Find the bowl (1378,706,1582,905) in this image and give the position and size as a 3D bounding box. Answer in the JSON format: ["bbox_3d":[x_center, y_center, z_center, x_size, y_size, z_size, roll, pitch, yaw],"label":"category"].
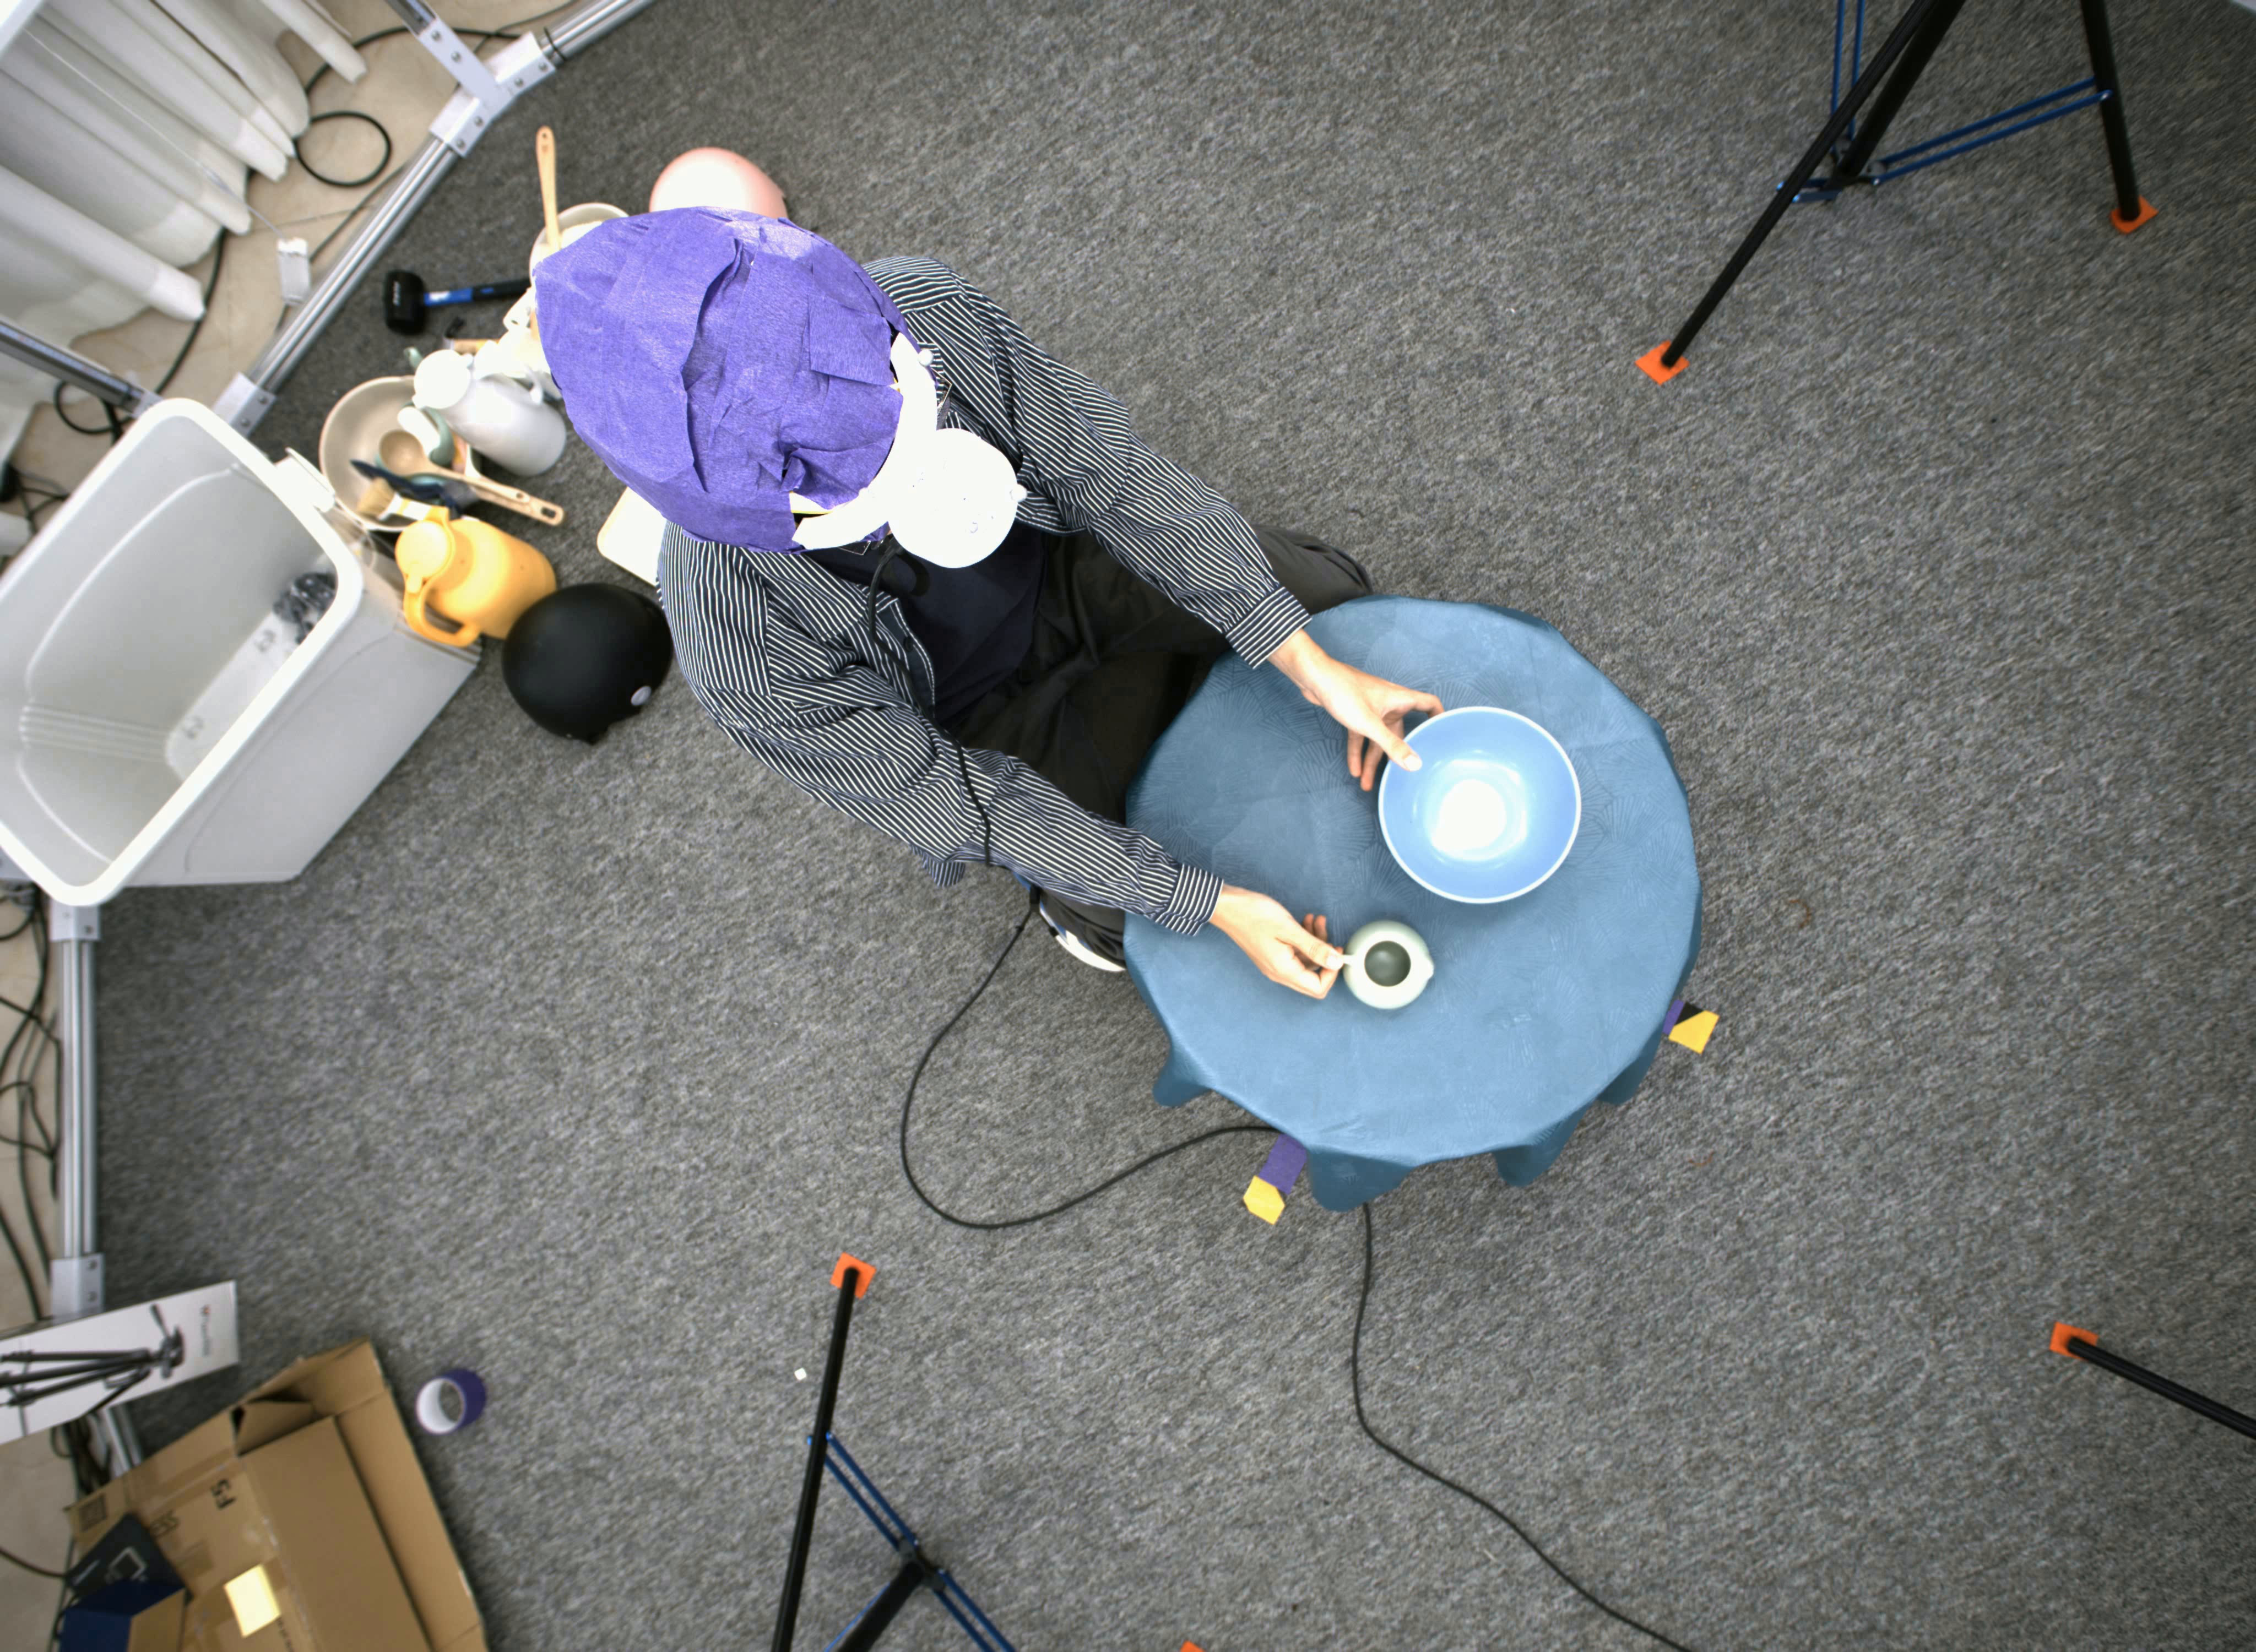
[{"bbox_3d":[0.352,-0.019,1.391,0.197,0.095,0.196,-1,88,10],"label":"bowl"}]

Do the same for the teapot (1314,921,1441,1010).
[{"bbox_3d":[0.254,0.140,1.416,0.129,0.061,0.091,9,89,7],"label":"teapot"}]
